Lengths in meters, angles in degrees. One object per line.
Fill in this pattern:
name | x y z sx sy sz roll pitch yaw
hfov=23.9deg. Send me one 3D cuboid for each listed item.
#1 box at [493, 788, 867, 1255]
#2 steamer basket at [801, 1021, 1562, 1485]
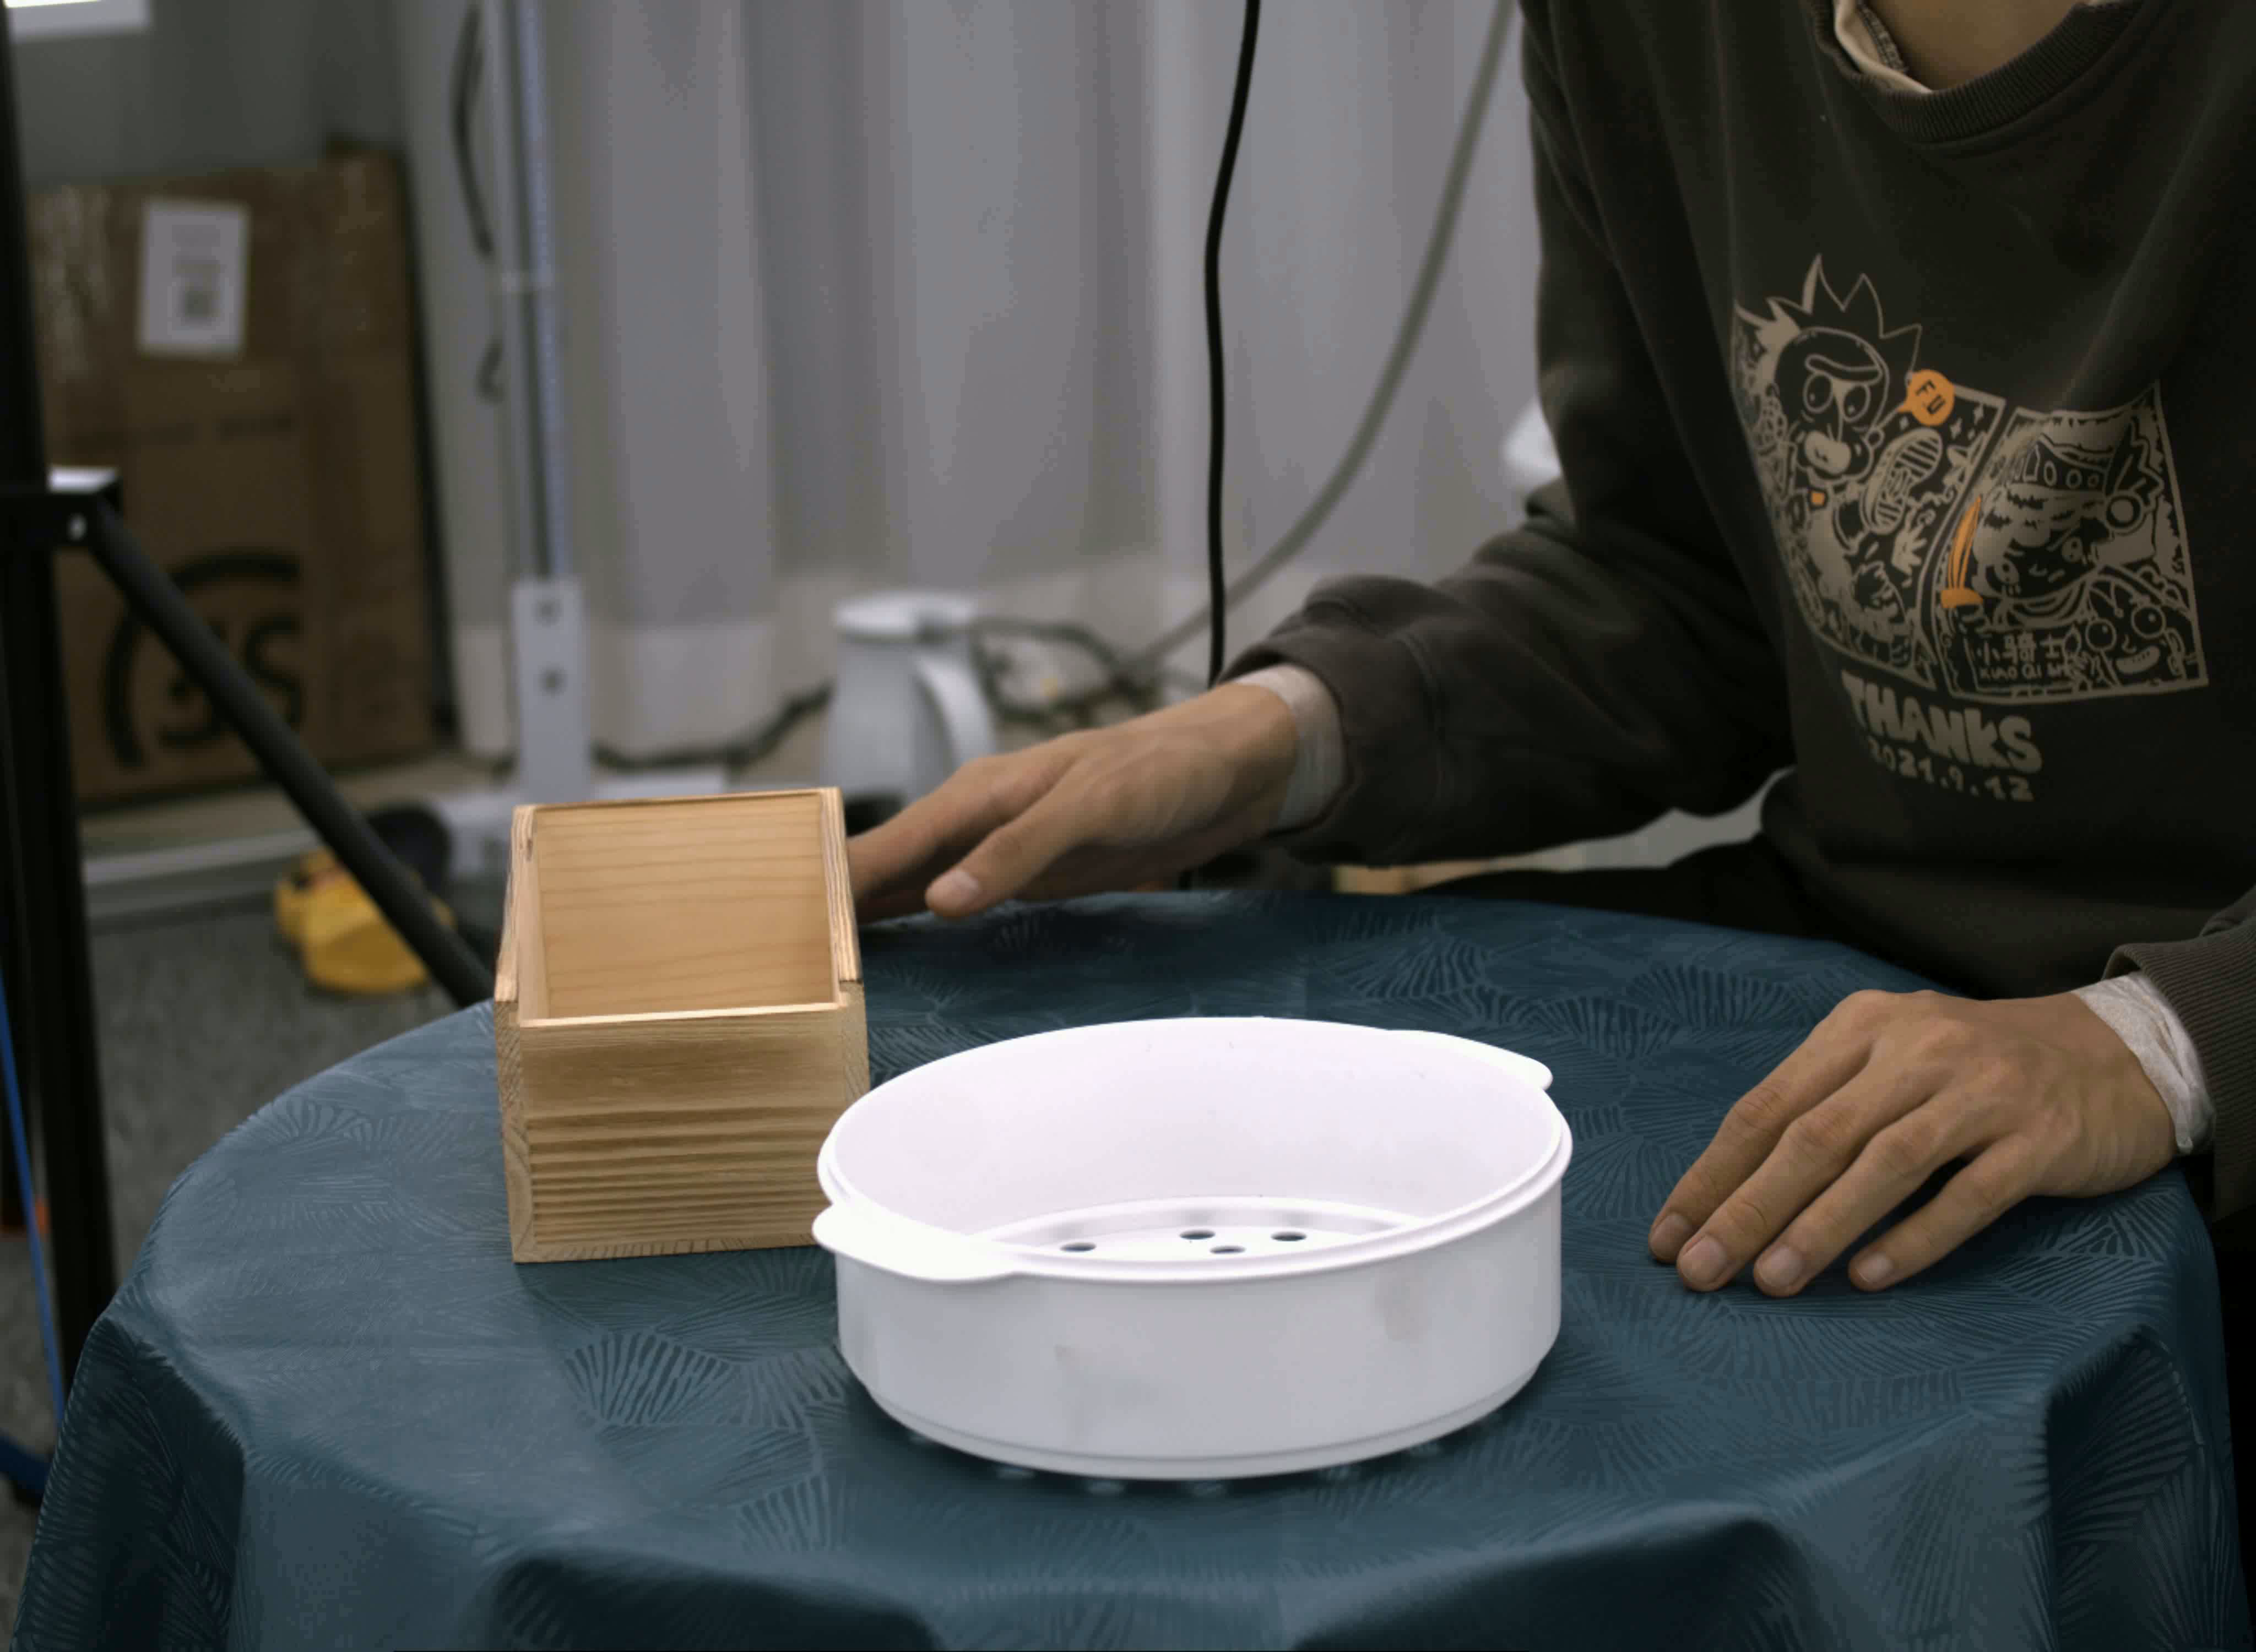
box | -0.135 0.056 1.623 0.107 0.080 0.213 -3 16 -4
steamer basket | 0.015 0.114 1.417 0.225 0.069 0.206 -14 20 -39
